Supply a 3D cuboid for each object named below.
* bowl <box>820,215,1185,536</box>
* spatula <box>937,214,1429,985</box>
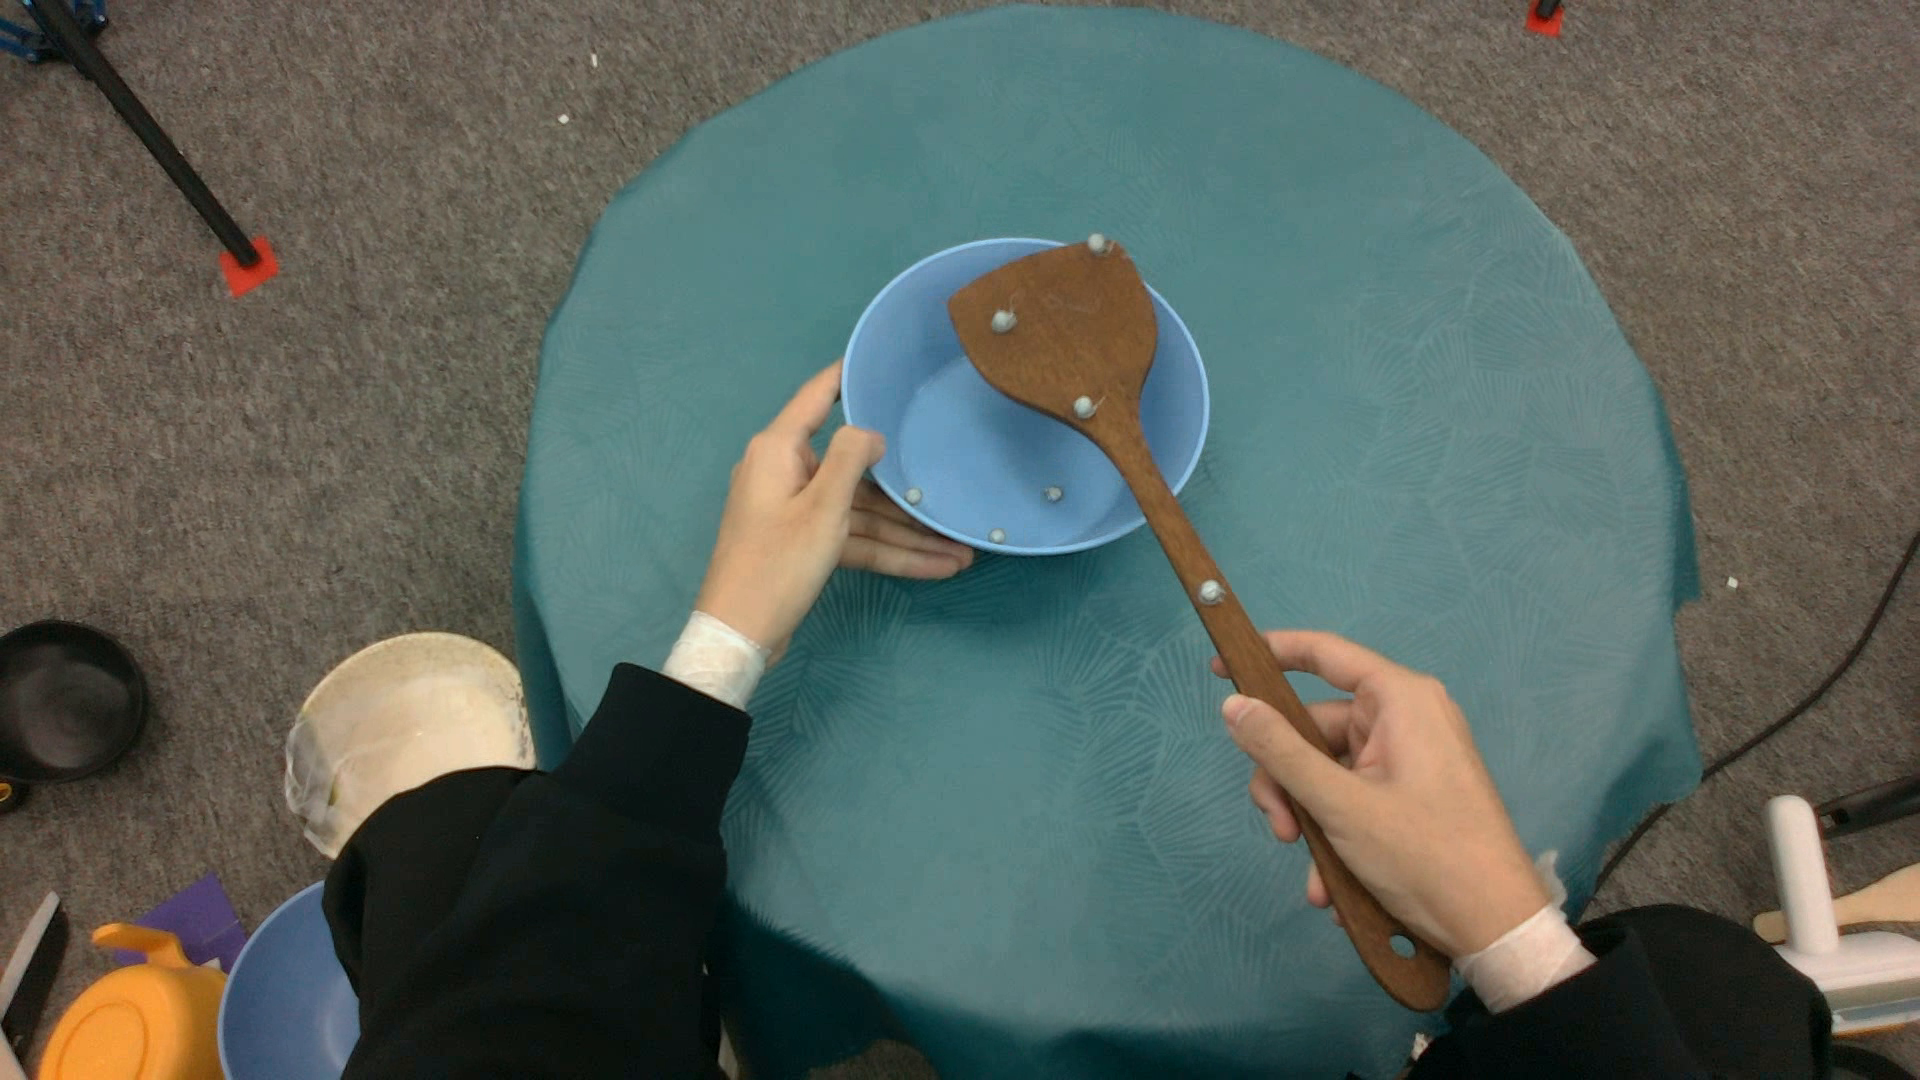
[{"bbox_3d":[0.019,-0.070,0.685,0.176,0.070,0.176,2,66,-4],"label":"bowl"},{"bbox_3d":[0.091,0.000,0.575,0.096,0.016,0.387,-19,57,-7],"label":"spatula"}]
